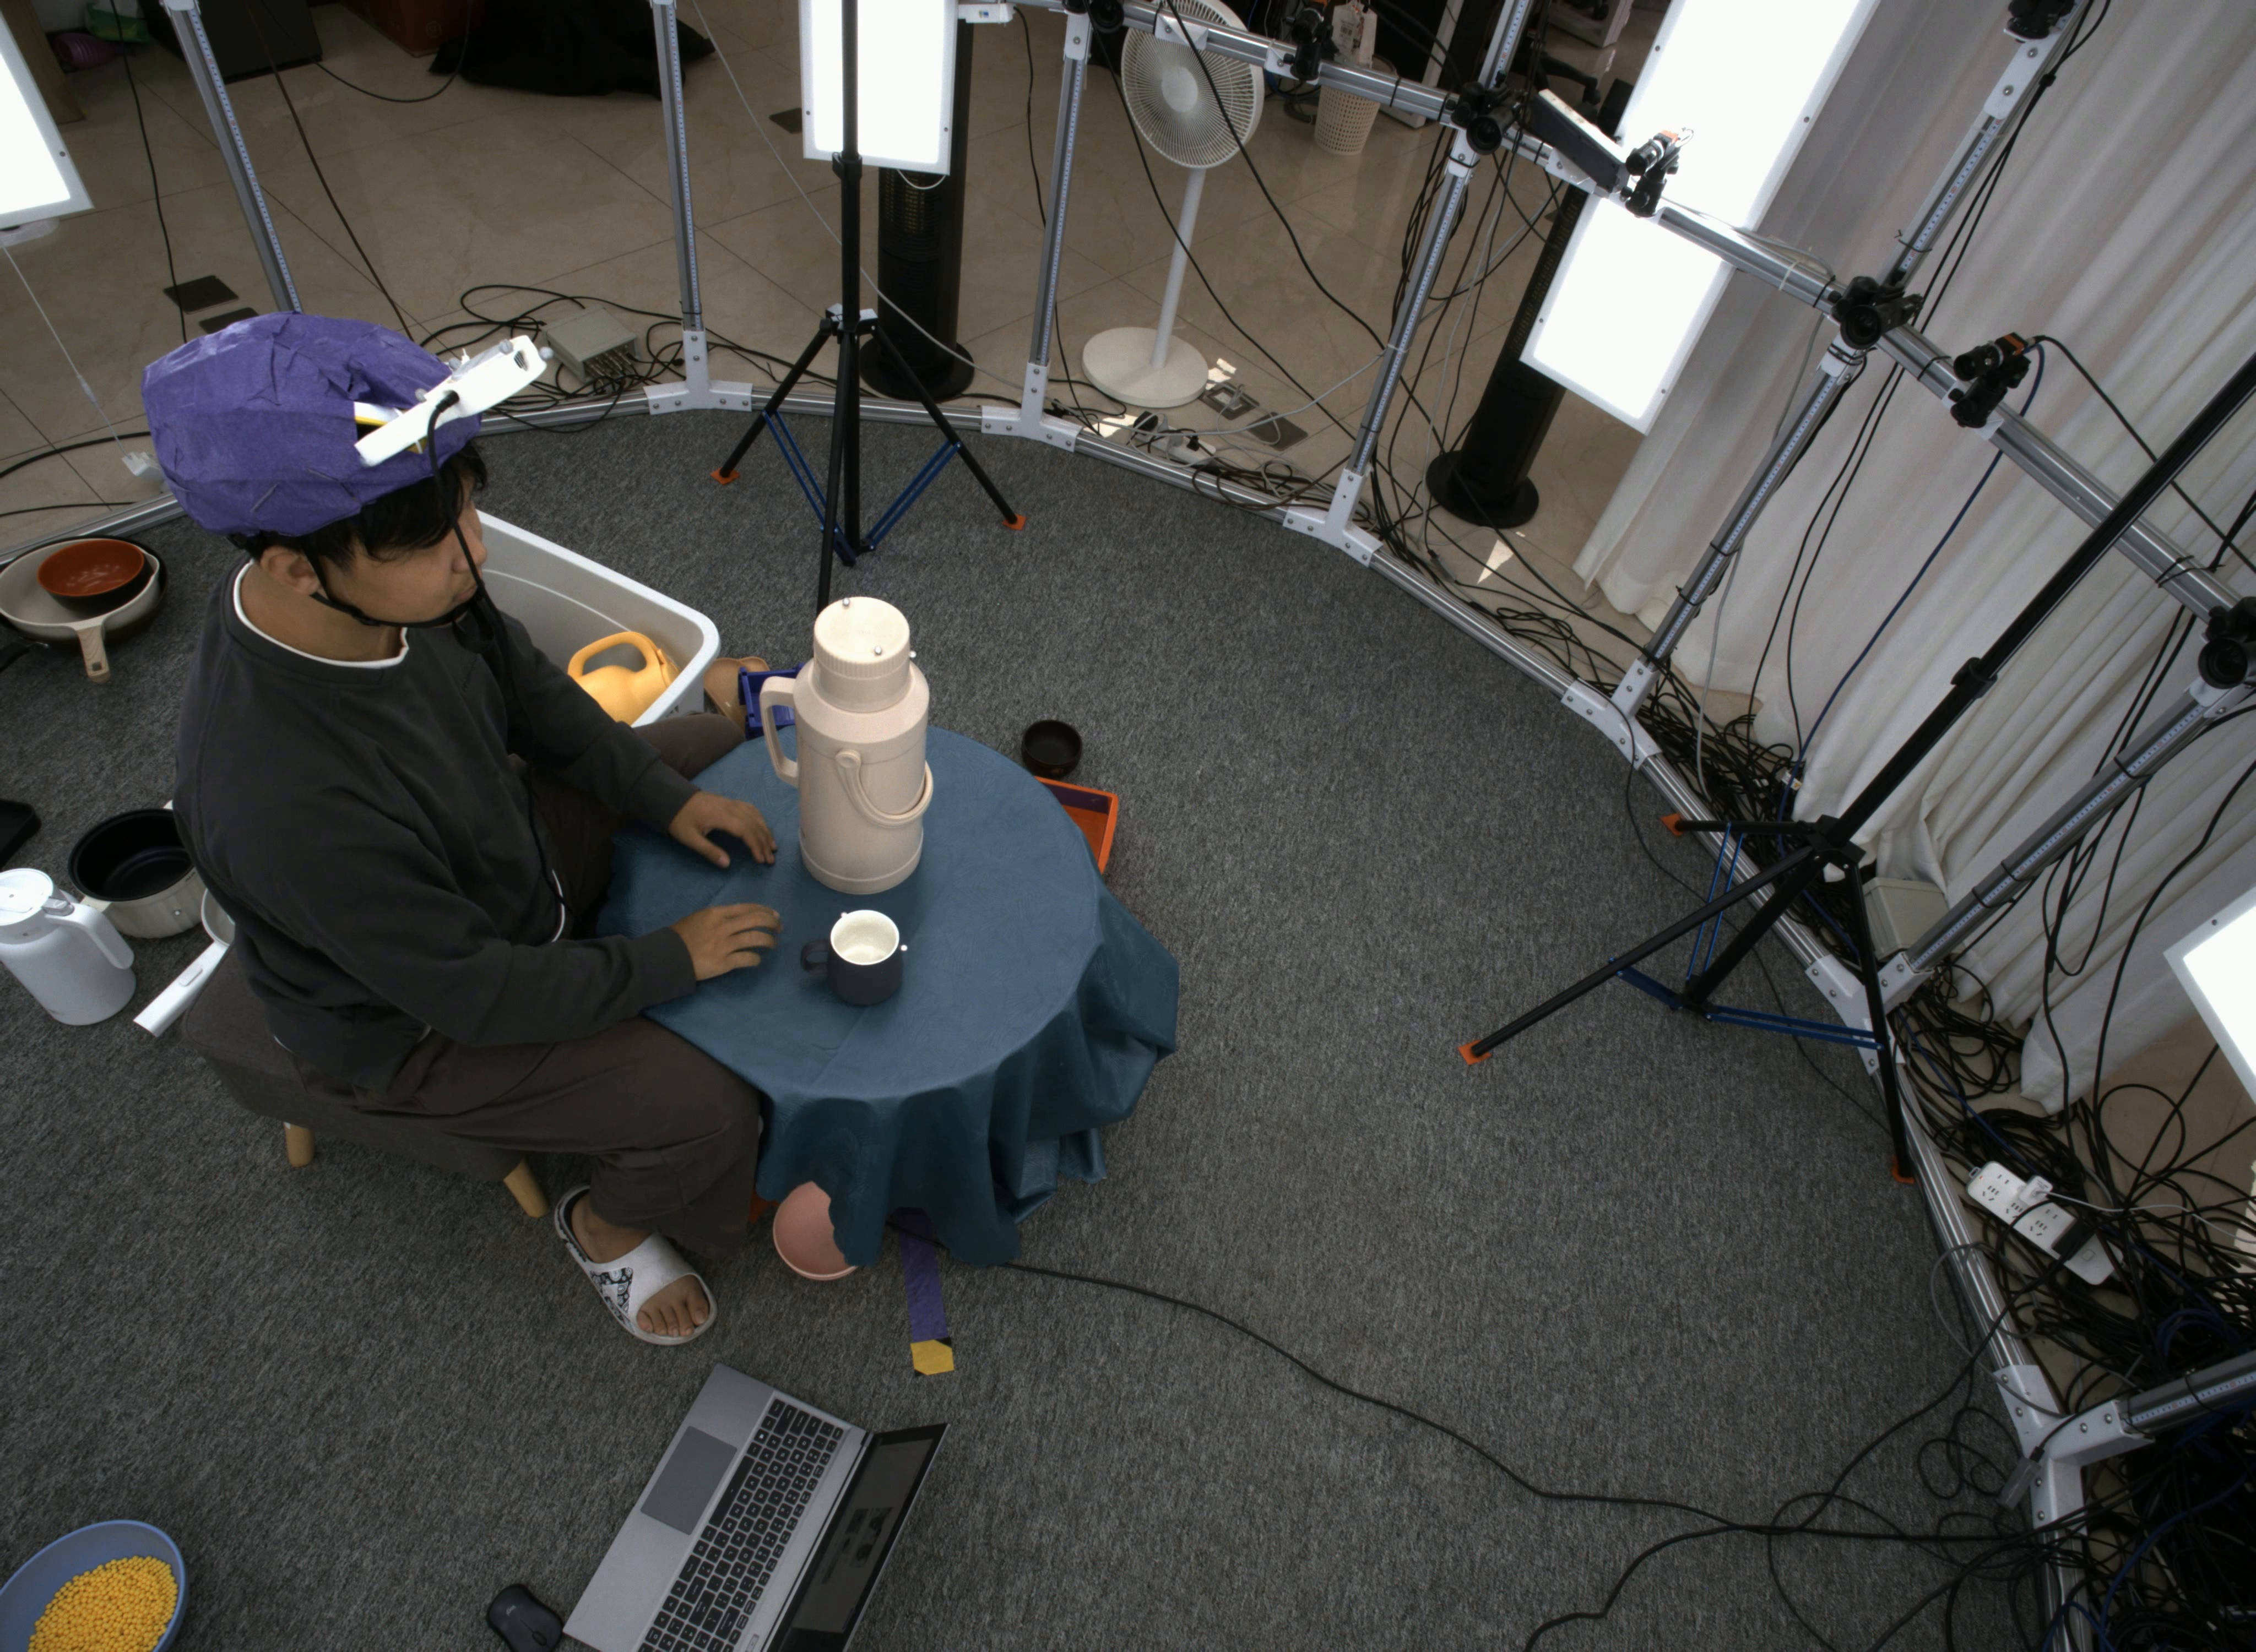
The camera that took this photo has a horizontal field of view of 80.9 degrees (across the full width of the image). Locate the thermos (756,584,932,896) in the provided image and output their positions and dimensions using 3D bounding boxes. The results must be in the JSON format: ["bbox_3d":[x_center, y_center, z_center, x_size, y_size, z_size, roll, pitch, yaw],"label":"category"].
[{"bbox_3d":[-0.337,-0.101,1.561,0.206,0.415,0.172,7,51,-6],"label":"thermos"}]

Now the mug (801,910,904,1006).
[{"bbox_3d":[-0.332,0.157,1.567,0.123,0.092,0.091,2,52,-12],"label":"mug"}]
